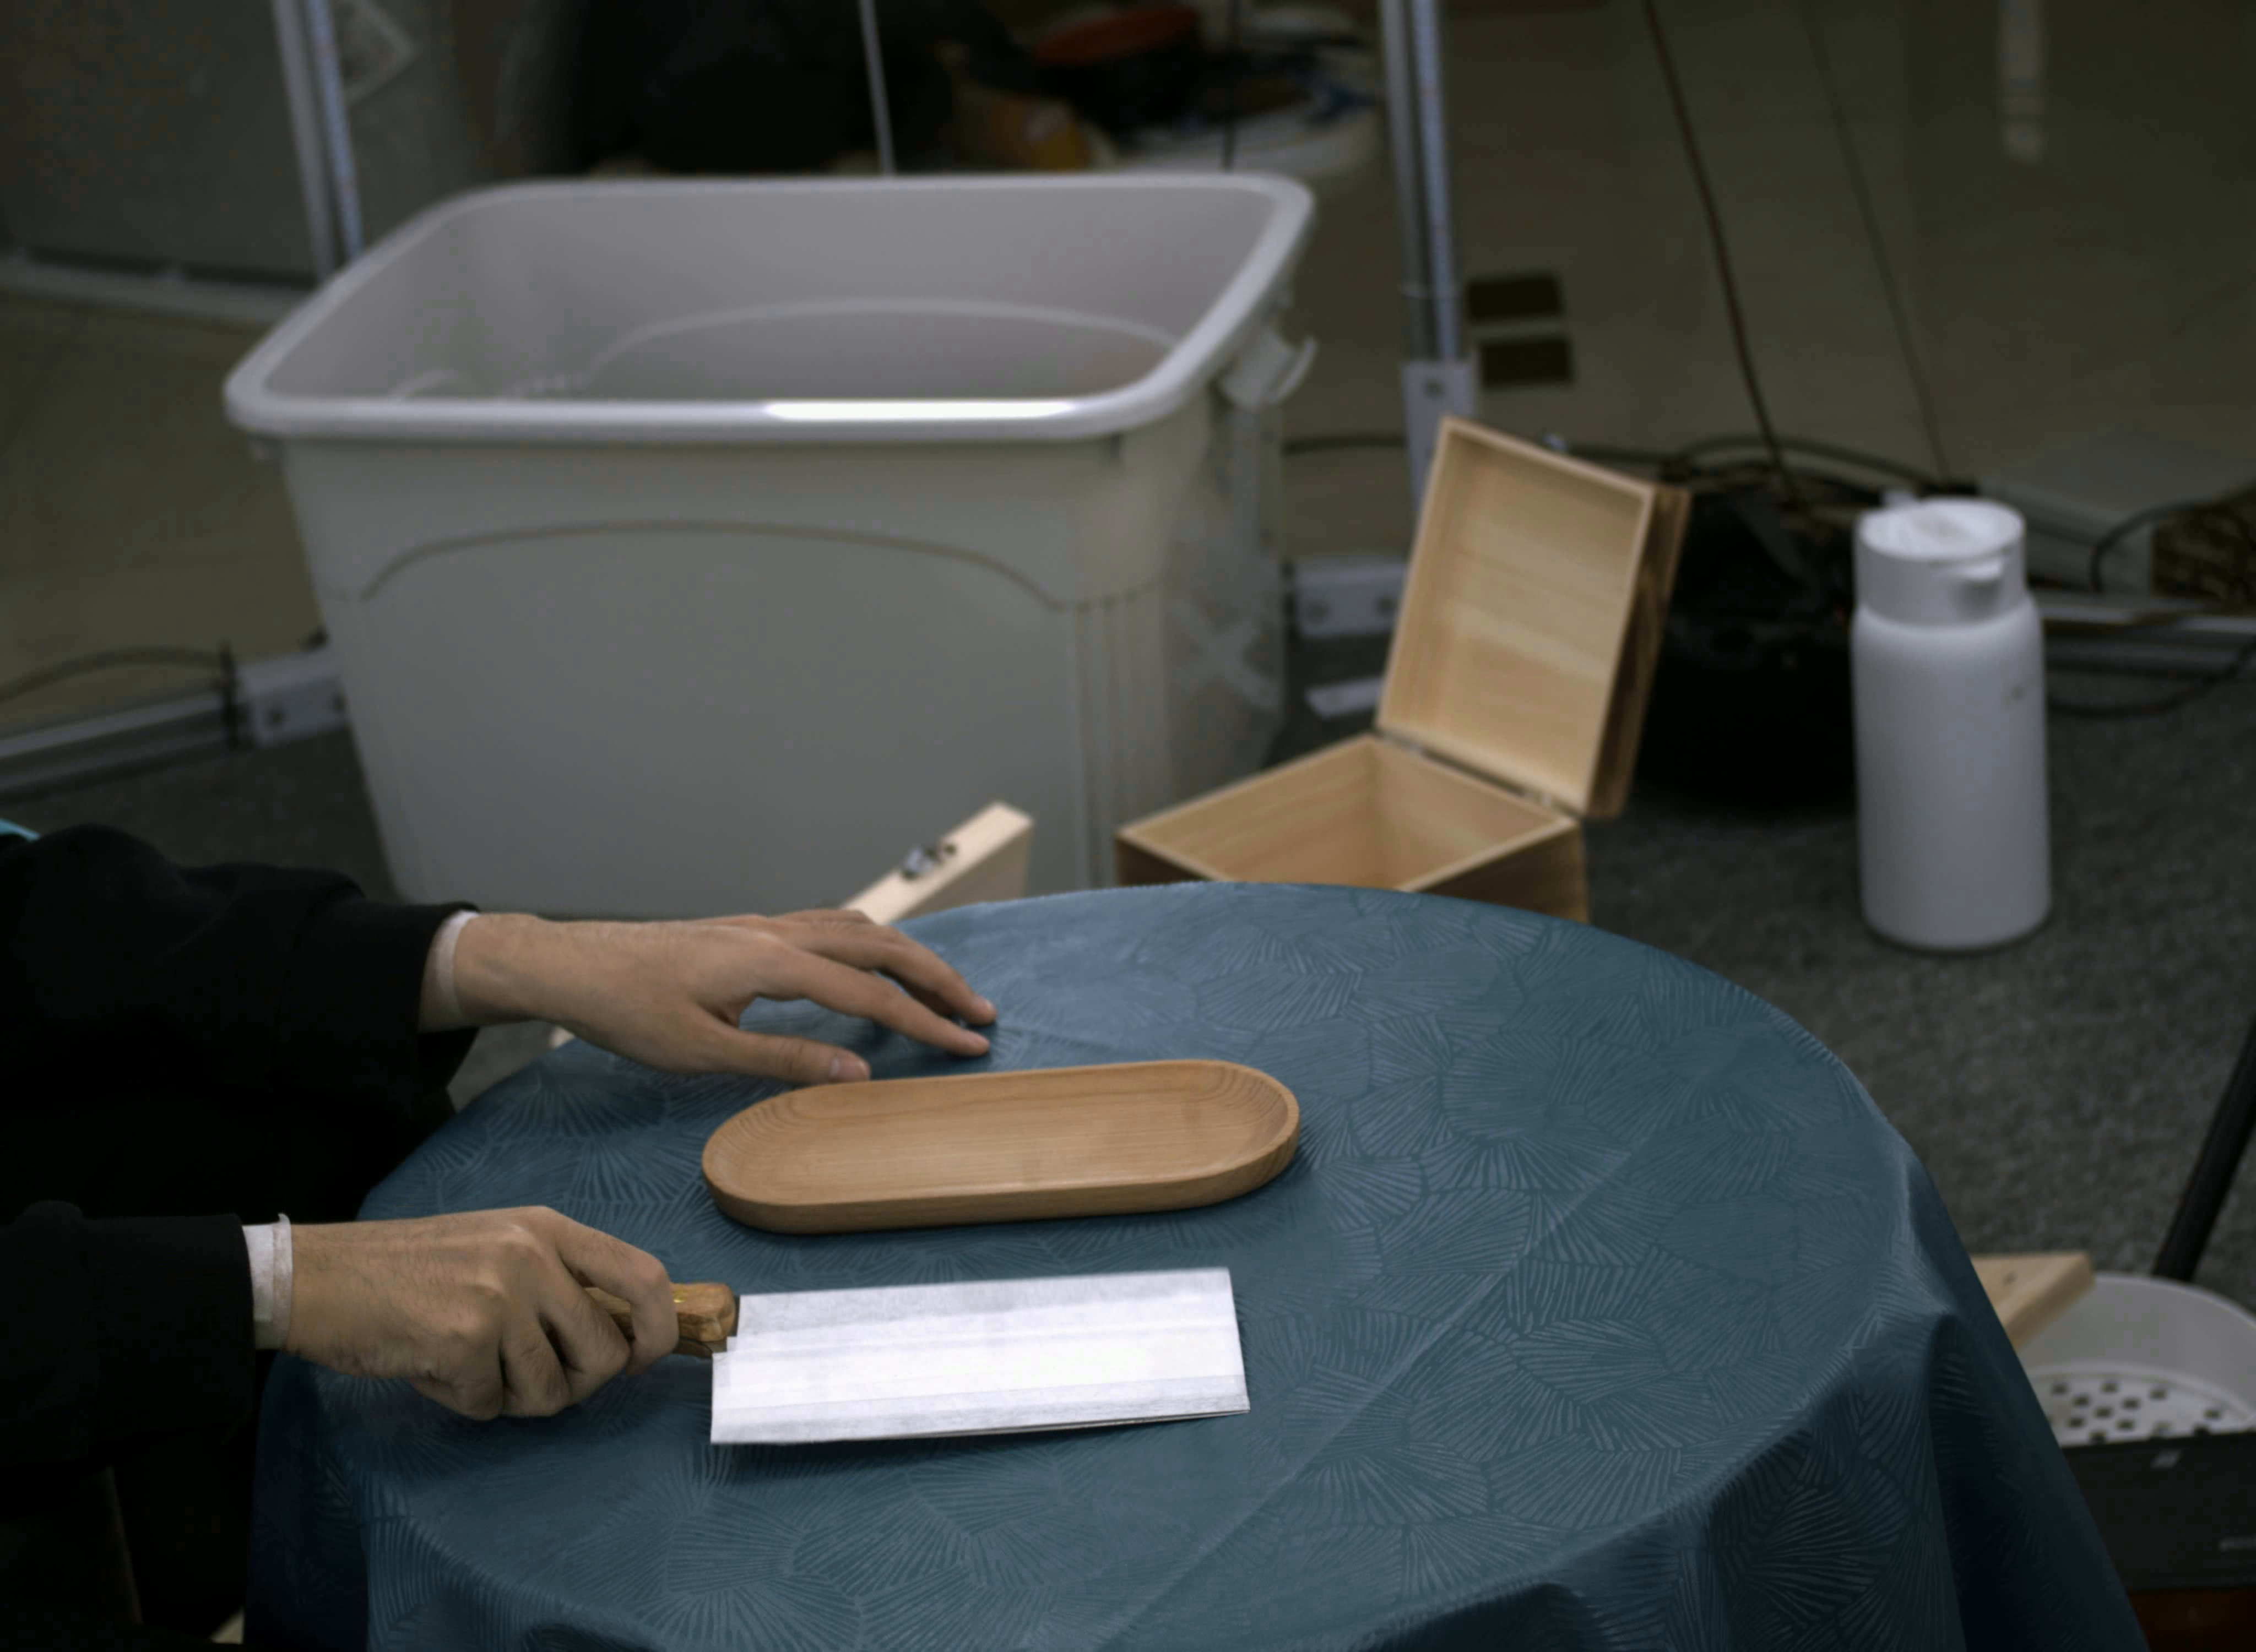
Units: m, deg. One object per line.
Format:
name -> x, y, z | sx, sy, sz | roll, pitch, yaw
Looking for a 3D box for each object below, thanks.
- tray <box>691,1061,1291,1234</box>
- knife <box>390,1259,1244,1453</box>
tray -> -0.052, 0.124, 2.172 | 0.231, 0.020, 0.100 | -5, 24, 6
knife -> -0.112, 0.191, 2.025 | 0.305, 0.021, 0.091 | -4, 34, -2
